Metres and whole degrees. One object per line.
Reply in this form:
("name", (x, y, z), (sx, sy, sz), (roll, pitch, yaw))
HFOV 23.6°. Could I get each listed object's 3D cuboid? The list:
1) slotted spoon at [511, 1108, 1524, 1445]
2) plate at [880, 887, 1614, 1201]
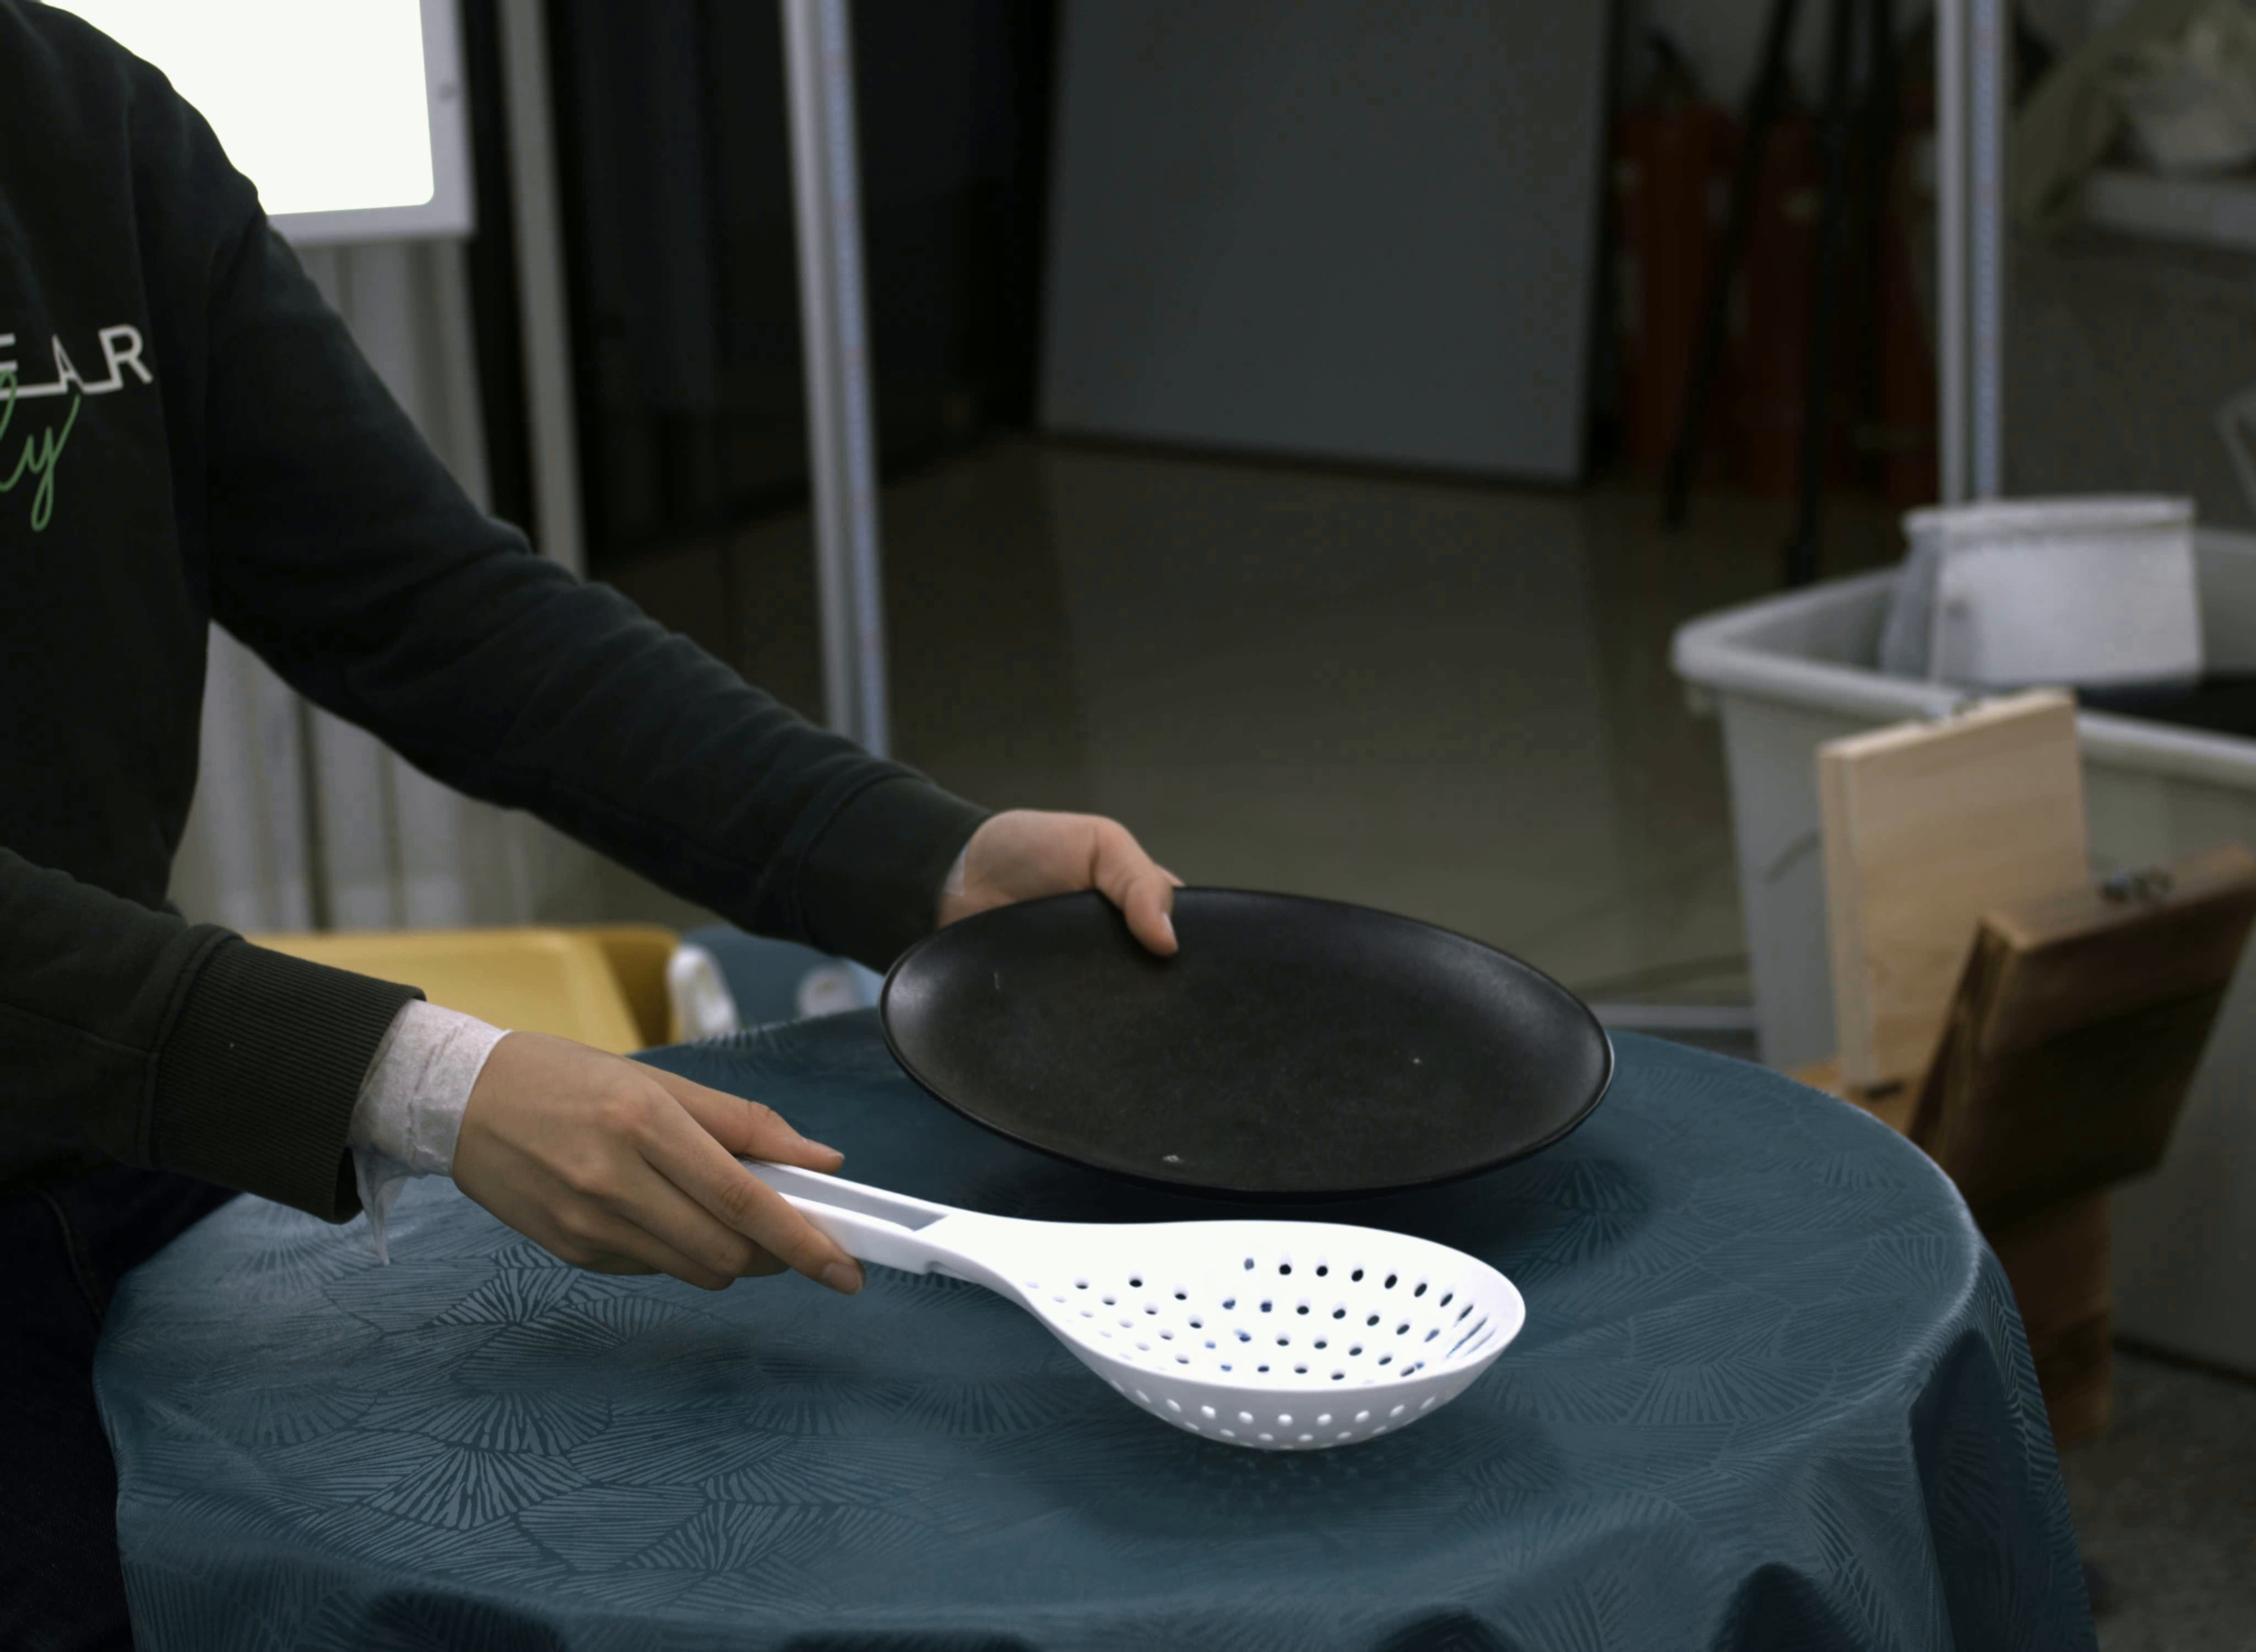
("slotted spoon", (-0.043, 0.124, 1.591), (0.352, 0.046, 0.133), (16, 20, 32))
("plate", (0.038, 0.074, 1.758), (0.241, 0.024, 0.245), (3, 21, -2))
